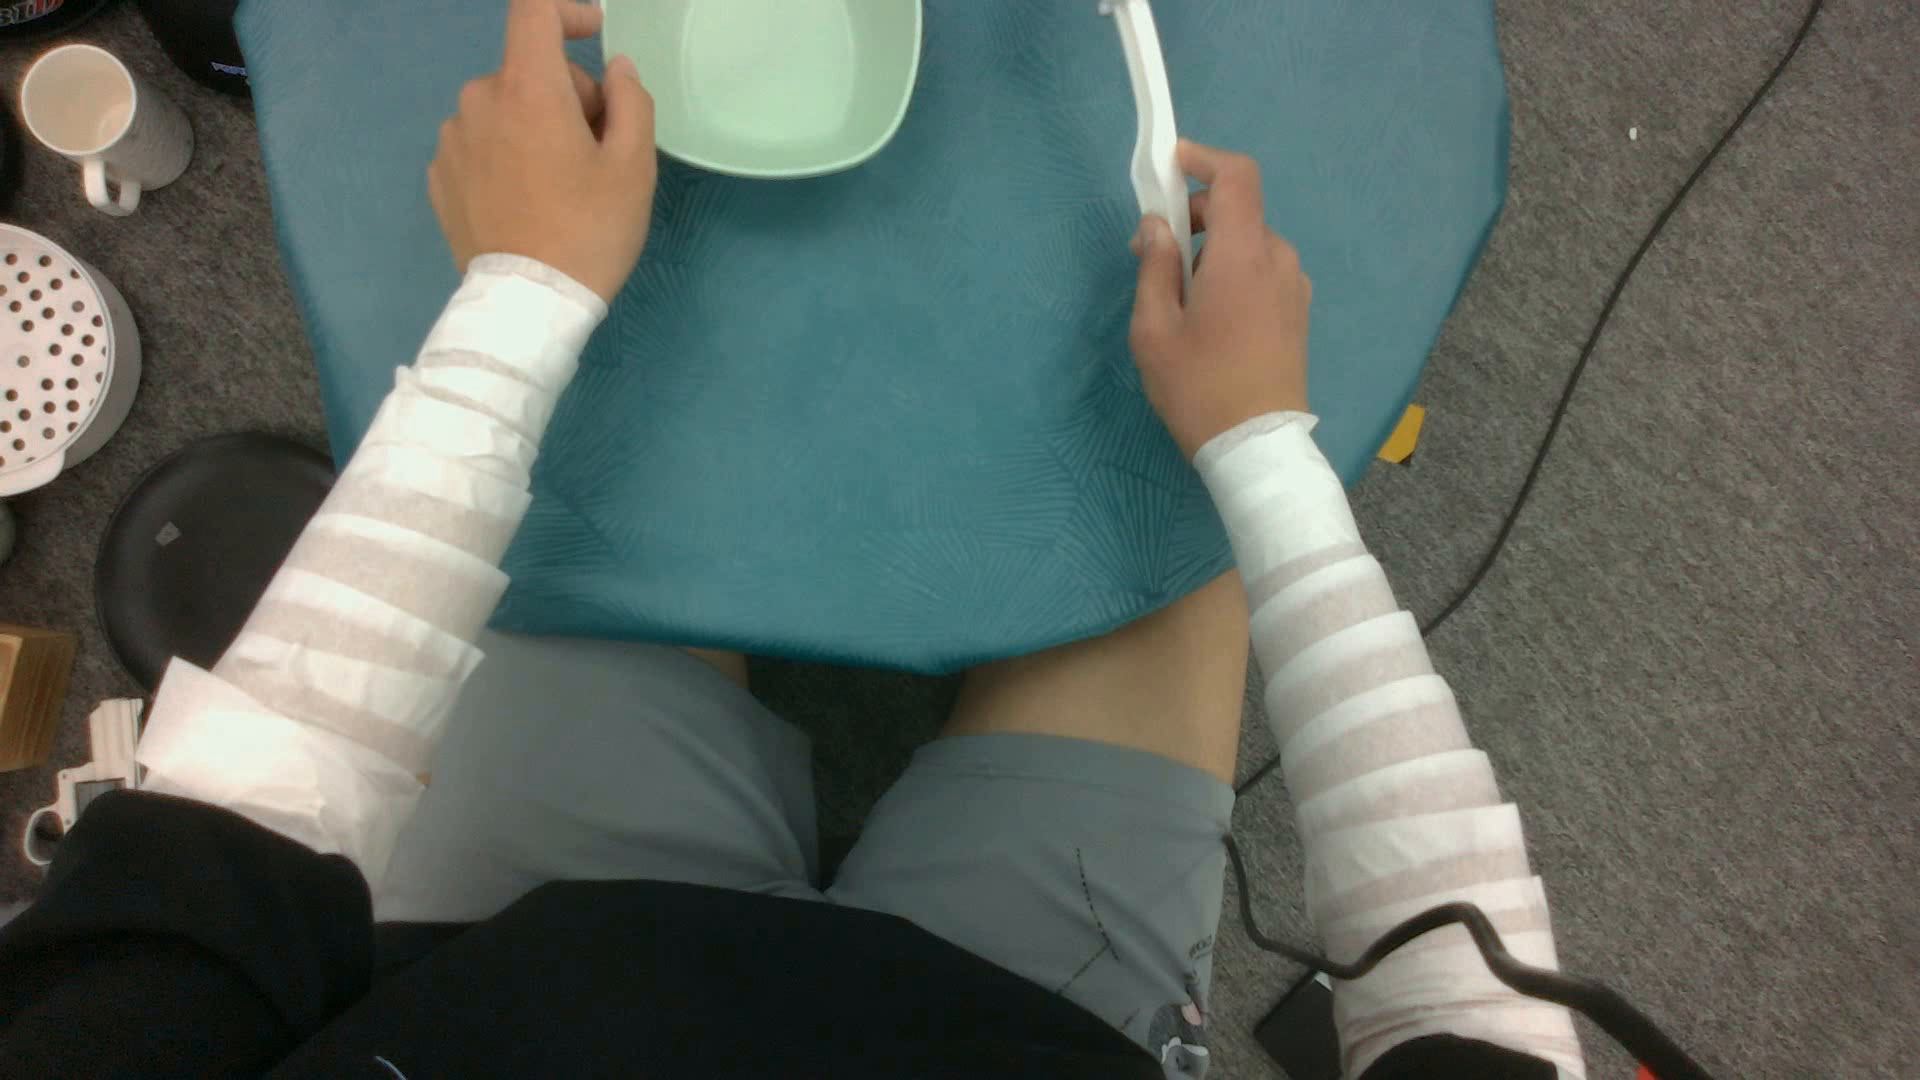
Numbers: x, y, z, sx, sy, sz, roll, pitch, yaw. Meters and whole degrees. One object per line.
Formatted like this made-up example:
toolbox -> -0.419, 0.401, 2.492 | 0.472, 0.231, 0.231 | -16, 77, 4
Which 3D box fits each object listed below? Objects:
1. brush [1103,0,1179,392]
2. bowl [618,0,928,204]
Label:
brush -> 0.078, -0.190, 0.627 | 0.050, 0.034, 0.243 | -4, 98, -39
bowl -> -0.085, -0.218, 0.647 | 0.151, 0.058, 0.151 | 0, 86, -3
